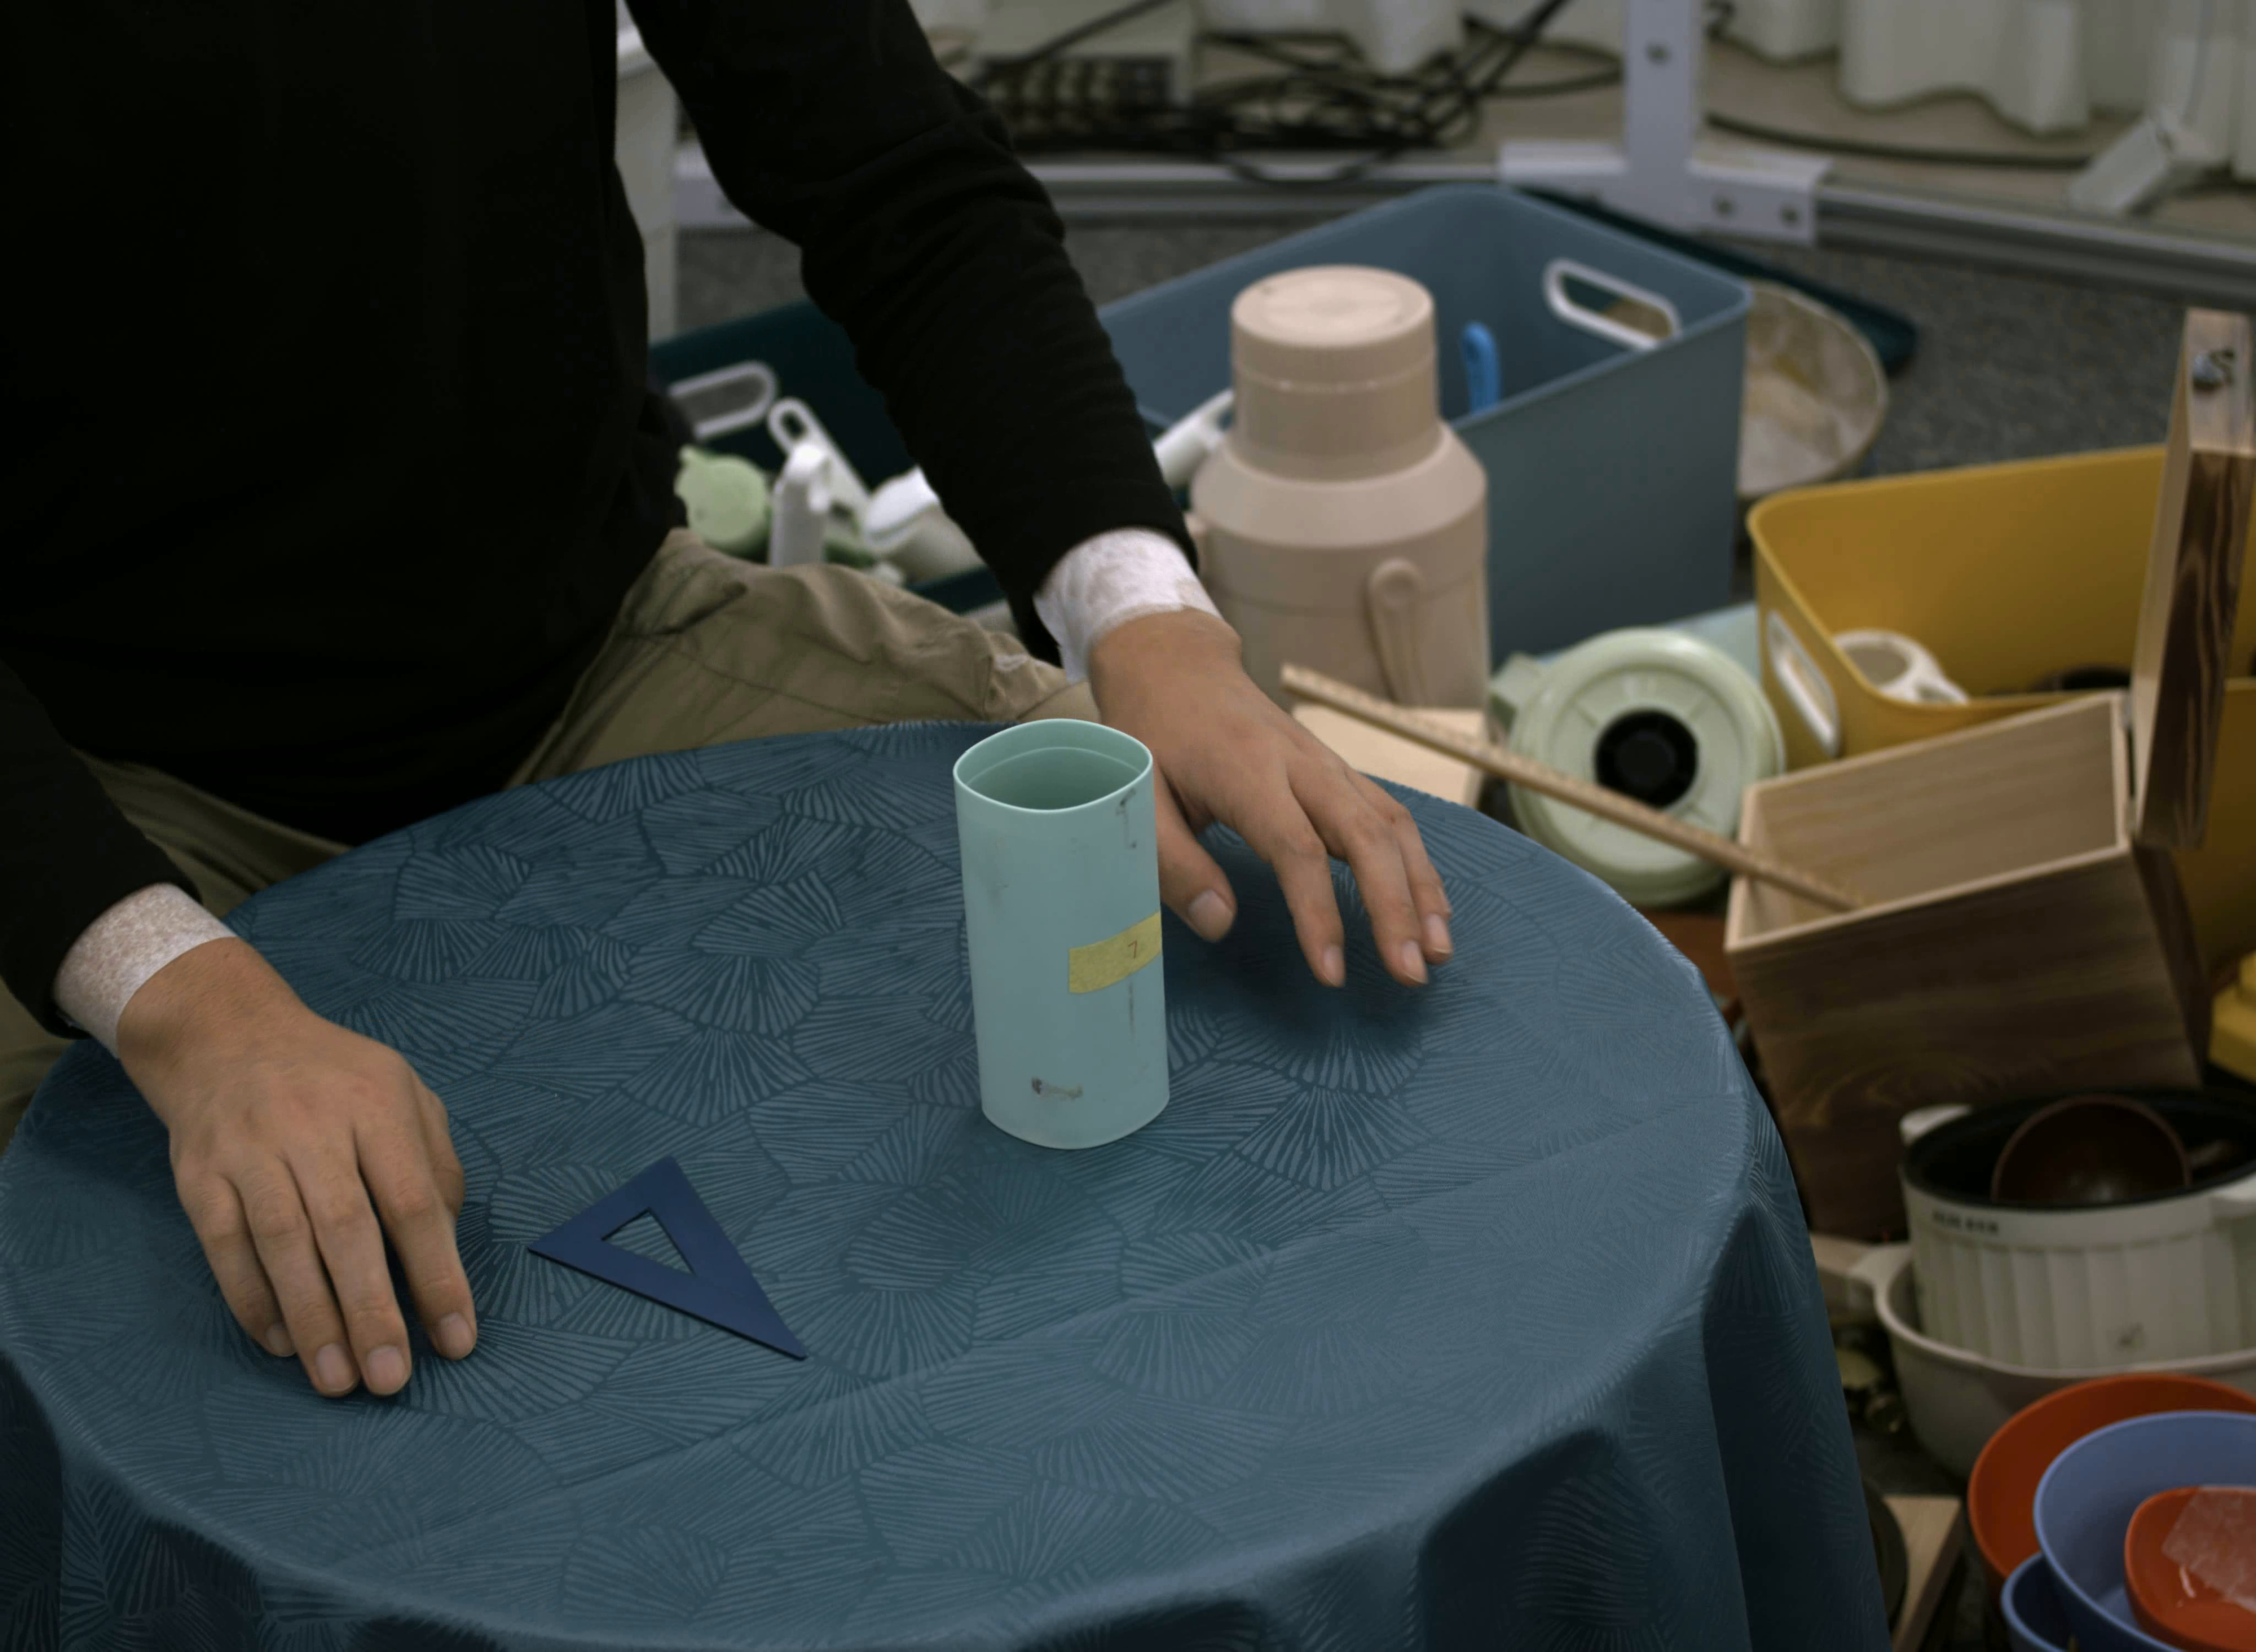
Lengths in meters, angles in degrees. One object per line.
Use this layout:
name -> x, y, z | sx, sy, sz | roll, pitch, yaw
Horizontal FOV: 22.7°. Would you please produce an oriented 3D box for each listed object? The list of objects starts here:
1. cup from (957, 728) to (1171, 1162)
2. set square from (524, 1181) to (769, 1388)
cup -> -0.022, 0.040, 1.889 | 0.066, 0.131, 0.068 | -2, 27, 2
set square -> -0.158, 0.151, 1.815 | 0.061, 0.006, 0.133 | -10, 28, -16
